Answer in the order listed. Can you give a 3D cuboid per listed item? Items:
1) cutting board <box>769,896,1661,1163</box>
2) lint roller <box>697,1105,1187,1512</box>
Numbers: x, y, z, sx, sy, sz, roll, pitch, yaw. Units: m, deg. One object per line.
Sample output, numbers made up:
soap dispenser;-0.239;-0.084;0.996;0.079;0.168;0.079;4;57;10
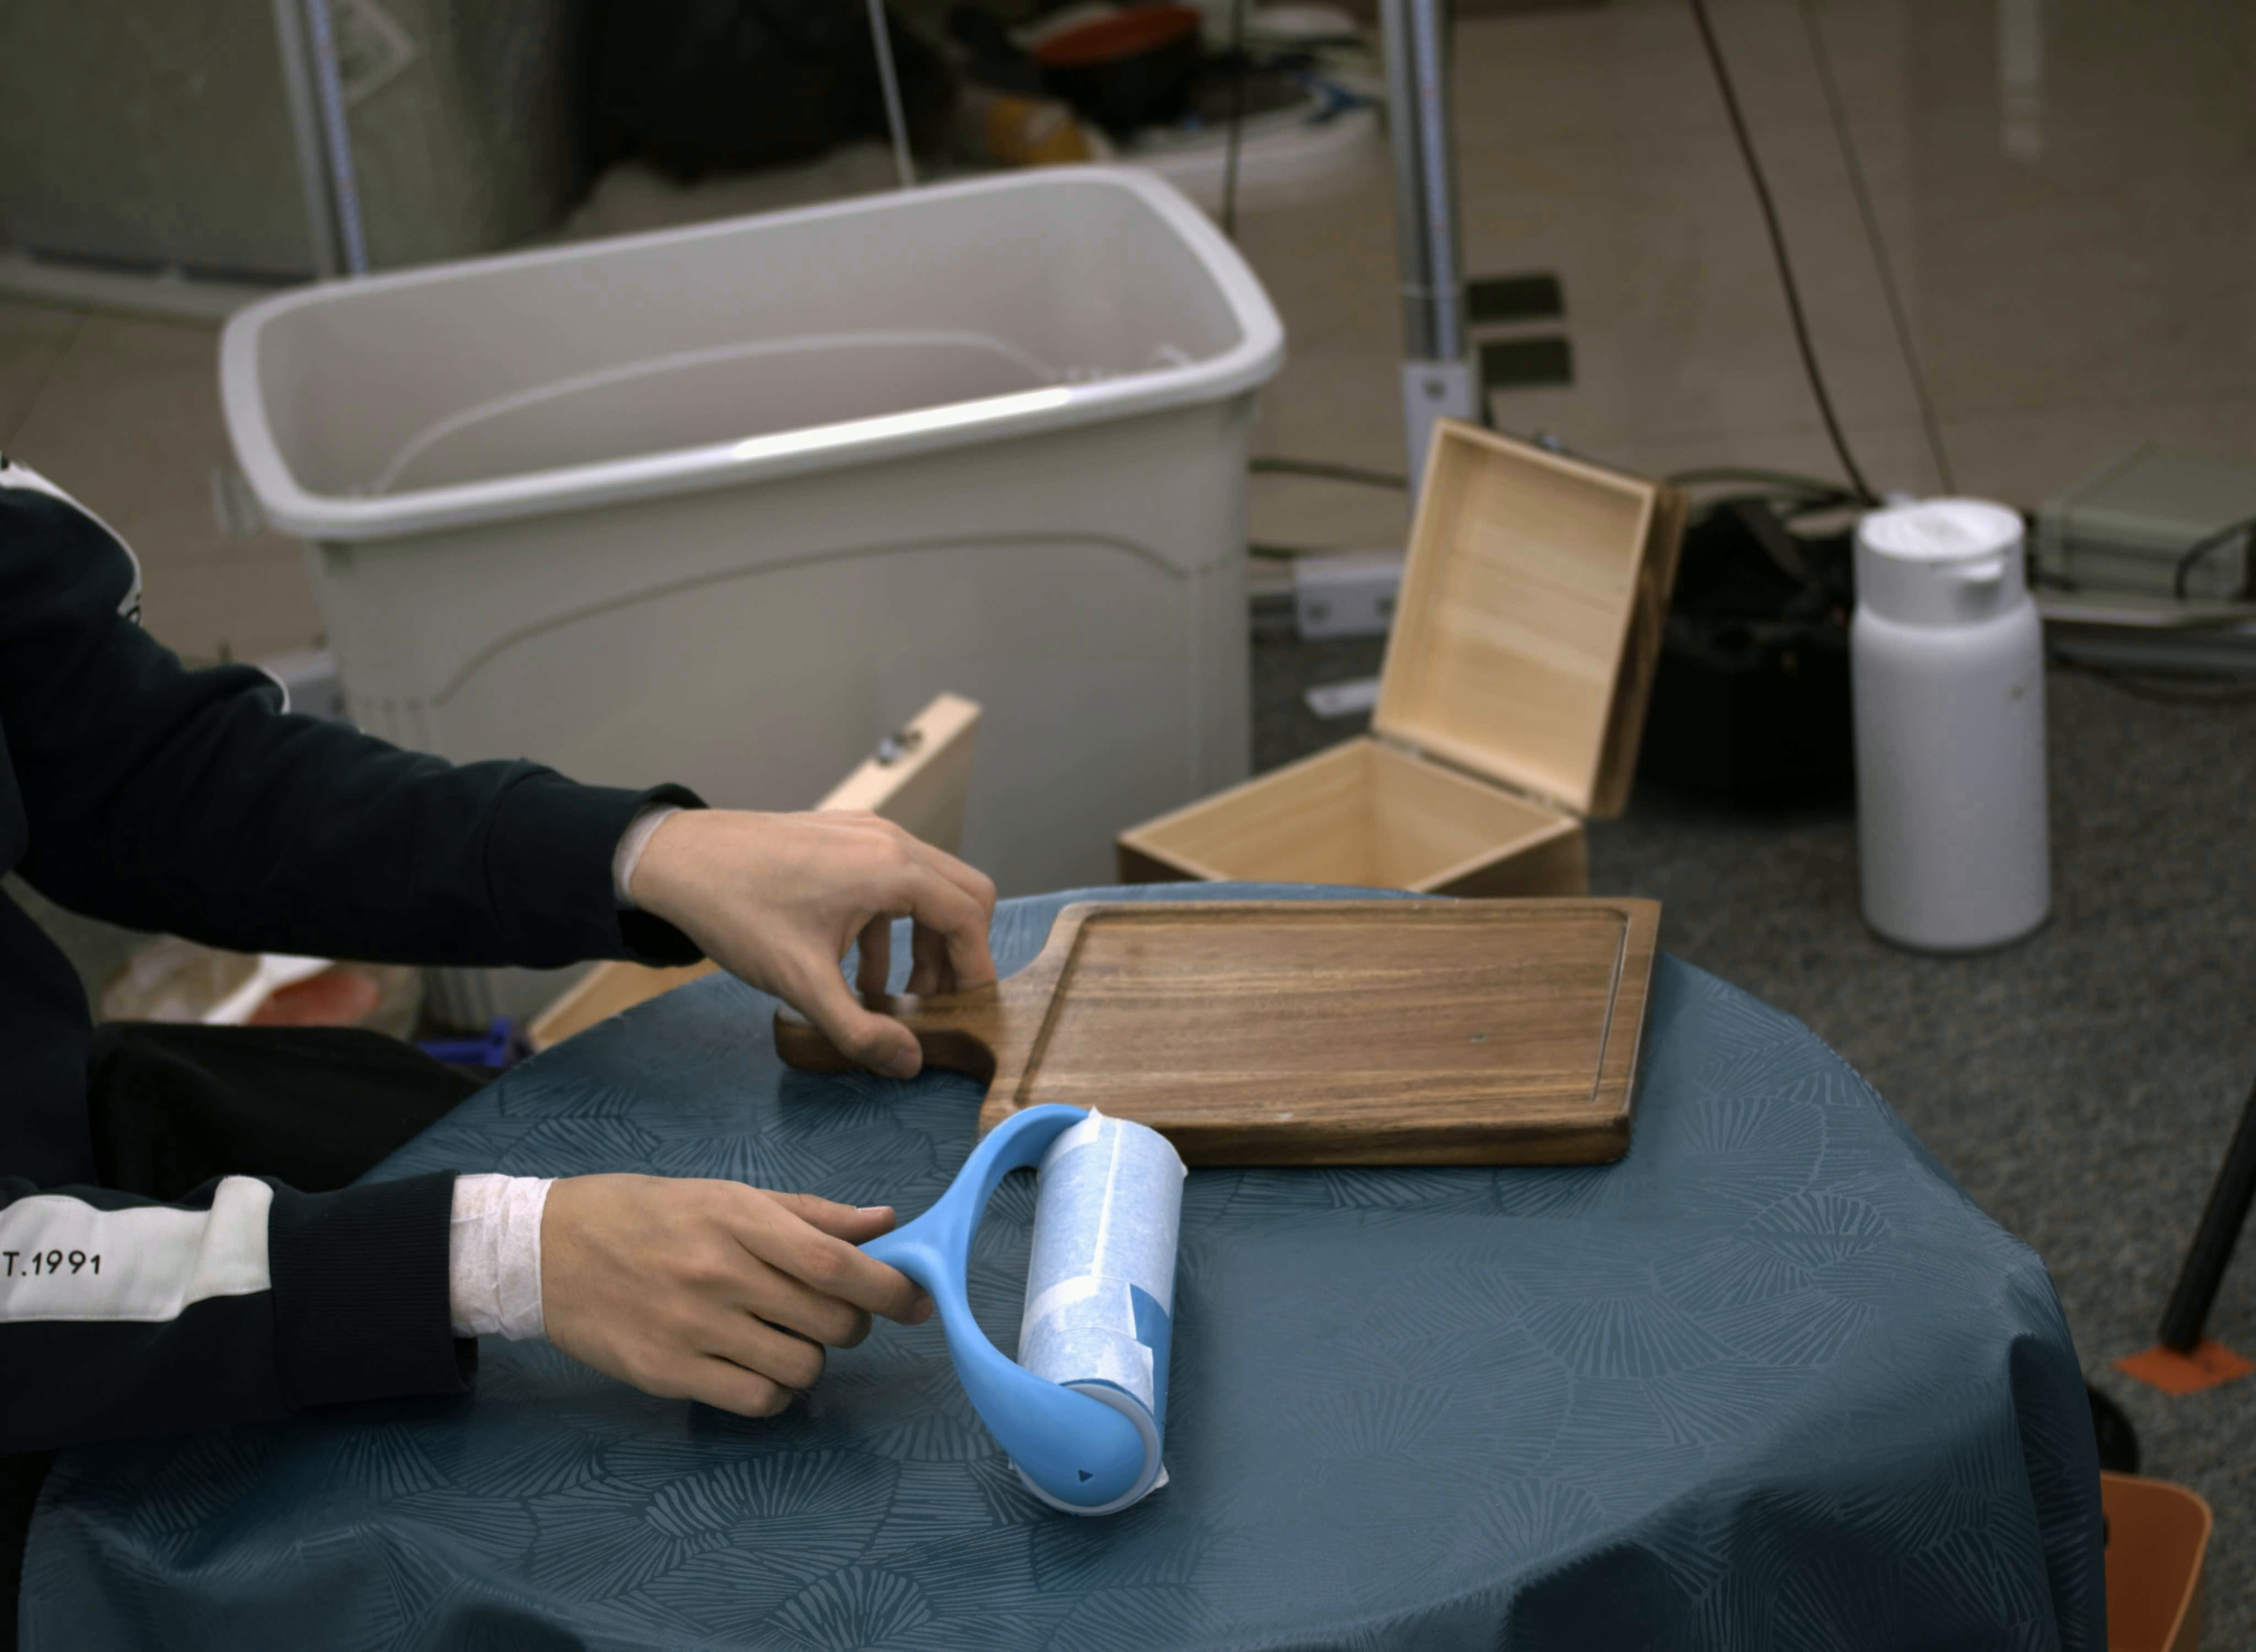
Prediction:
cutting board;0.031;0.079;2.233;0.351;0.023;0.198;-1;25;9
lint roller;-0.067;0.174;2.016;0.180;0.069;0.225;-5;26;2
